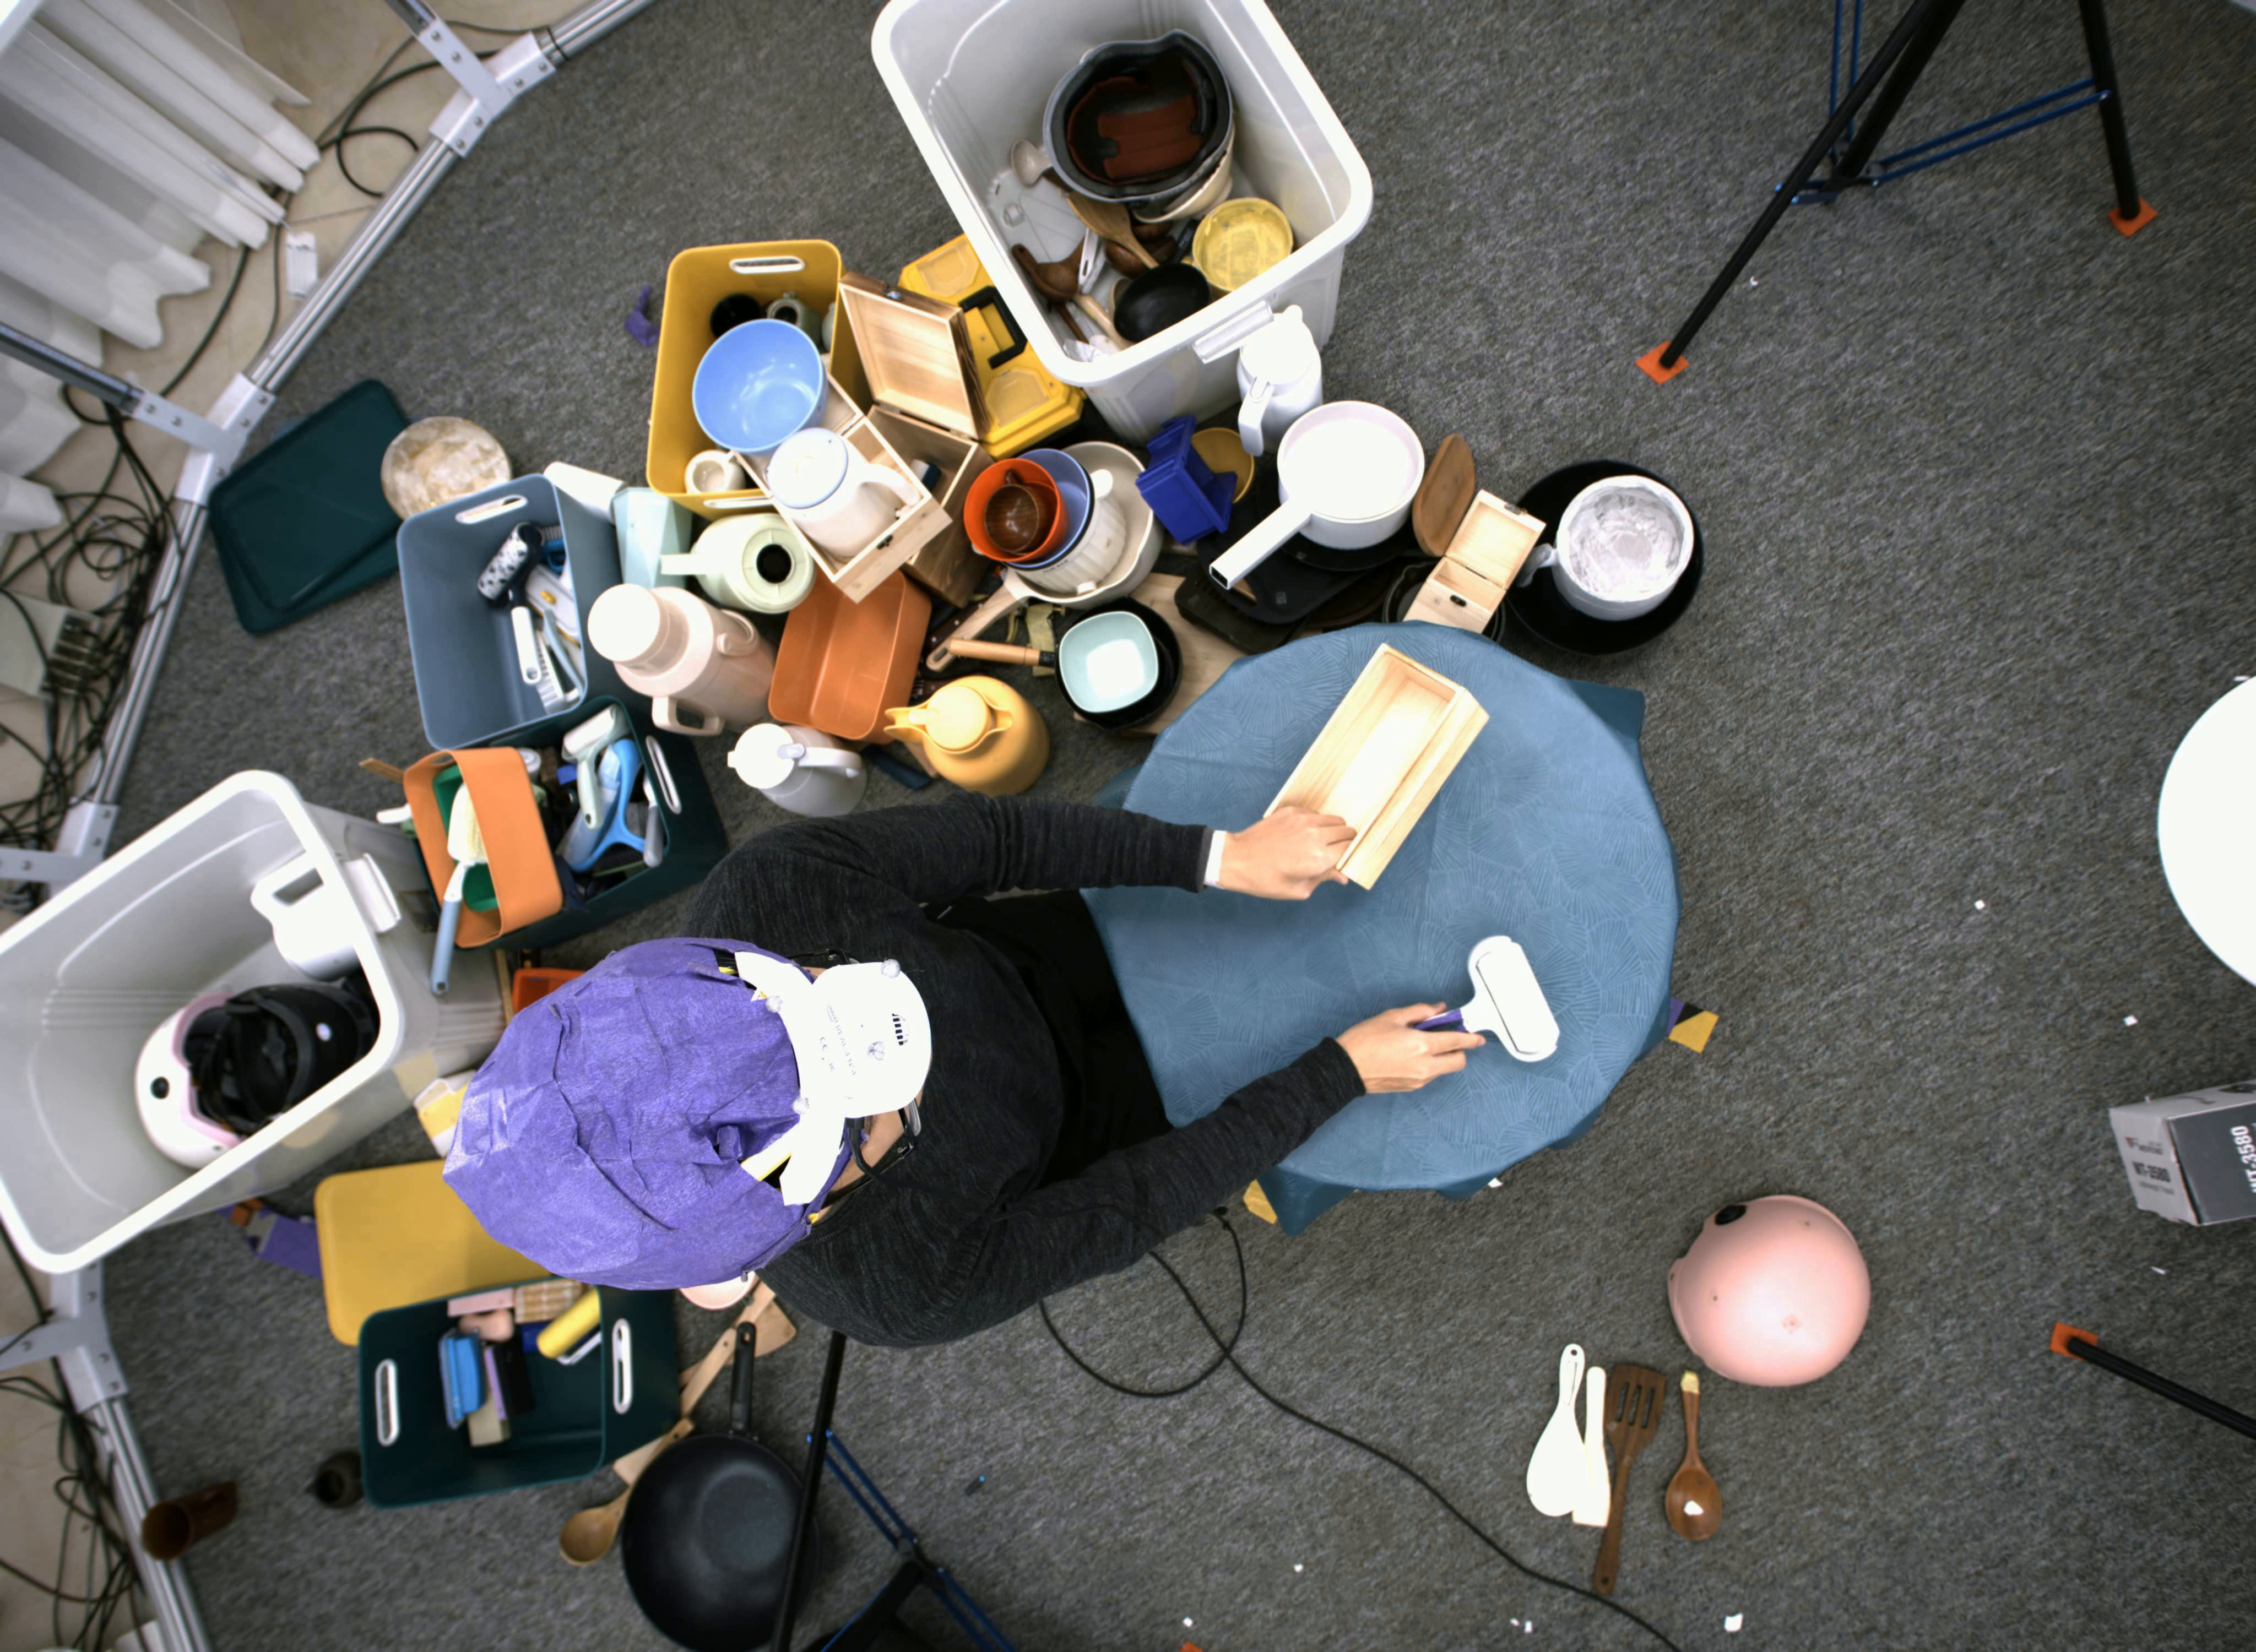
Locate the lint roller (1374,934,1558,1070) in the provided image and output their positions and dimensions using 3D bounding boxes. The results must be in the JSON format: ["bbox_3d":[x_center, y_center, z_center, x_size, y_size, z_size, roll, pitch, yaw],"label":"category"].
[{"bbox_3d":[0.330,0.197,1.385,0.181,0.049,0.134,-28,102,3],"label":"lint roller"}]

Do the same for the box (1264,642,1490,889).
[{"bbox_3d":[0.247,-0.060,1.364,0.106,0.080,0.213,39,99,35],"label":"box"}]
